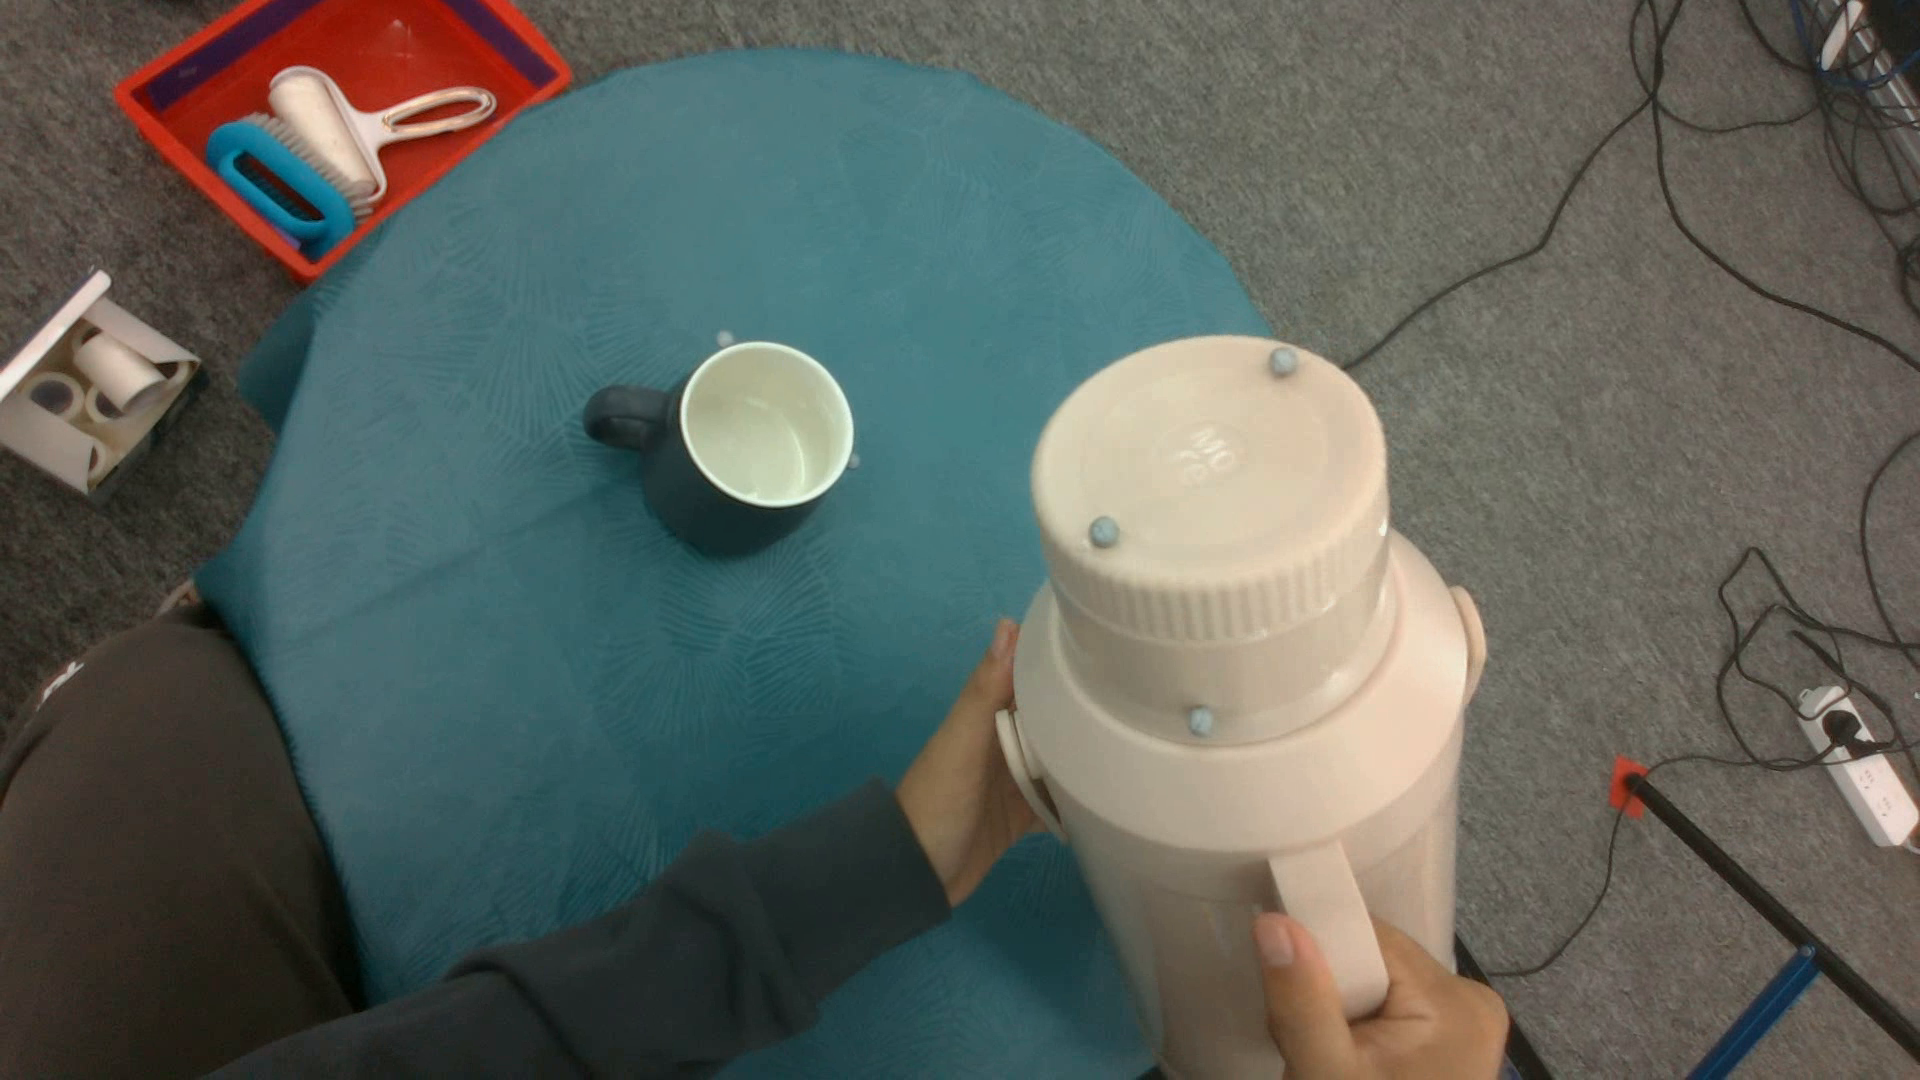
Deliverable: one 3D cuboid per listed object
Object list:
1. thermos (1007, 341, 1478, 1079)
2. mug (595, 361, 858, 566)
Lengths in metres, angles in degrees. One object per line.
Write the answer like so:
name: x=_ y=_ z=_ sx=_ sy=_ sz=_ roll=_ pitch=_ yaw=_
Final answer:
thermos: x=0.127 y=0.110 z=0.559 sx=0.175 sy=0.405 sz=0.208 roll=-19 pitch=47 yaw=4
mug: x=-0.116 y=-0.041 z=0.675 sx=0.123 sy=0.089 sz=0.094 roll=13 pitch=74 yaw=-19
